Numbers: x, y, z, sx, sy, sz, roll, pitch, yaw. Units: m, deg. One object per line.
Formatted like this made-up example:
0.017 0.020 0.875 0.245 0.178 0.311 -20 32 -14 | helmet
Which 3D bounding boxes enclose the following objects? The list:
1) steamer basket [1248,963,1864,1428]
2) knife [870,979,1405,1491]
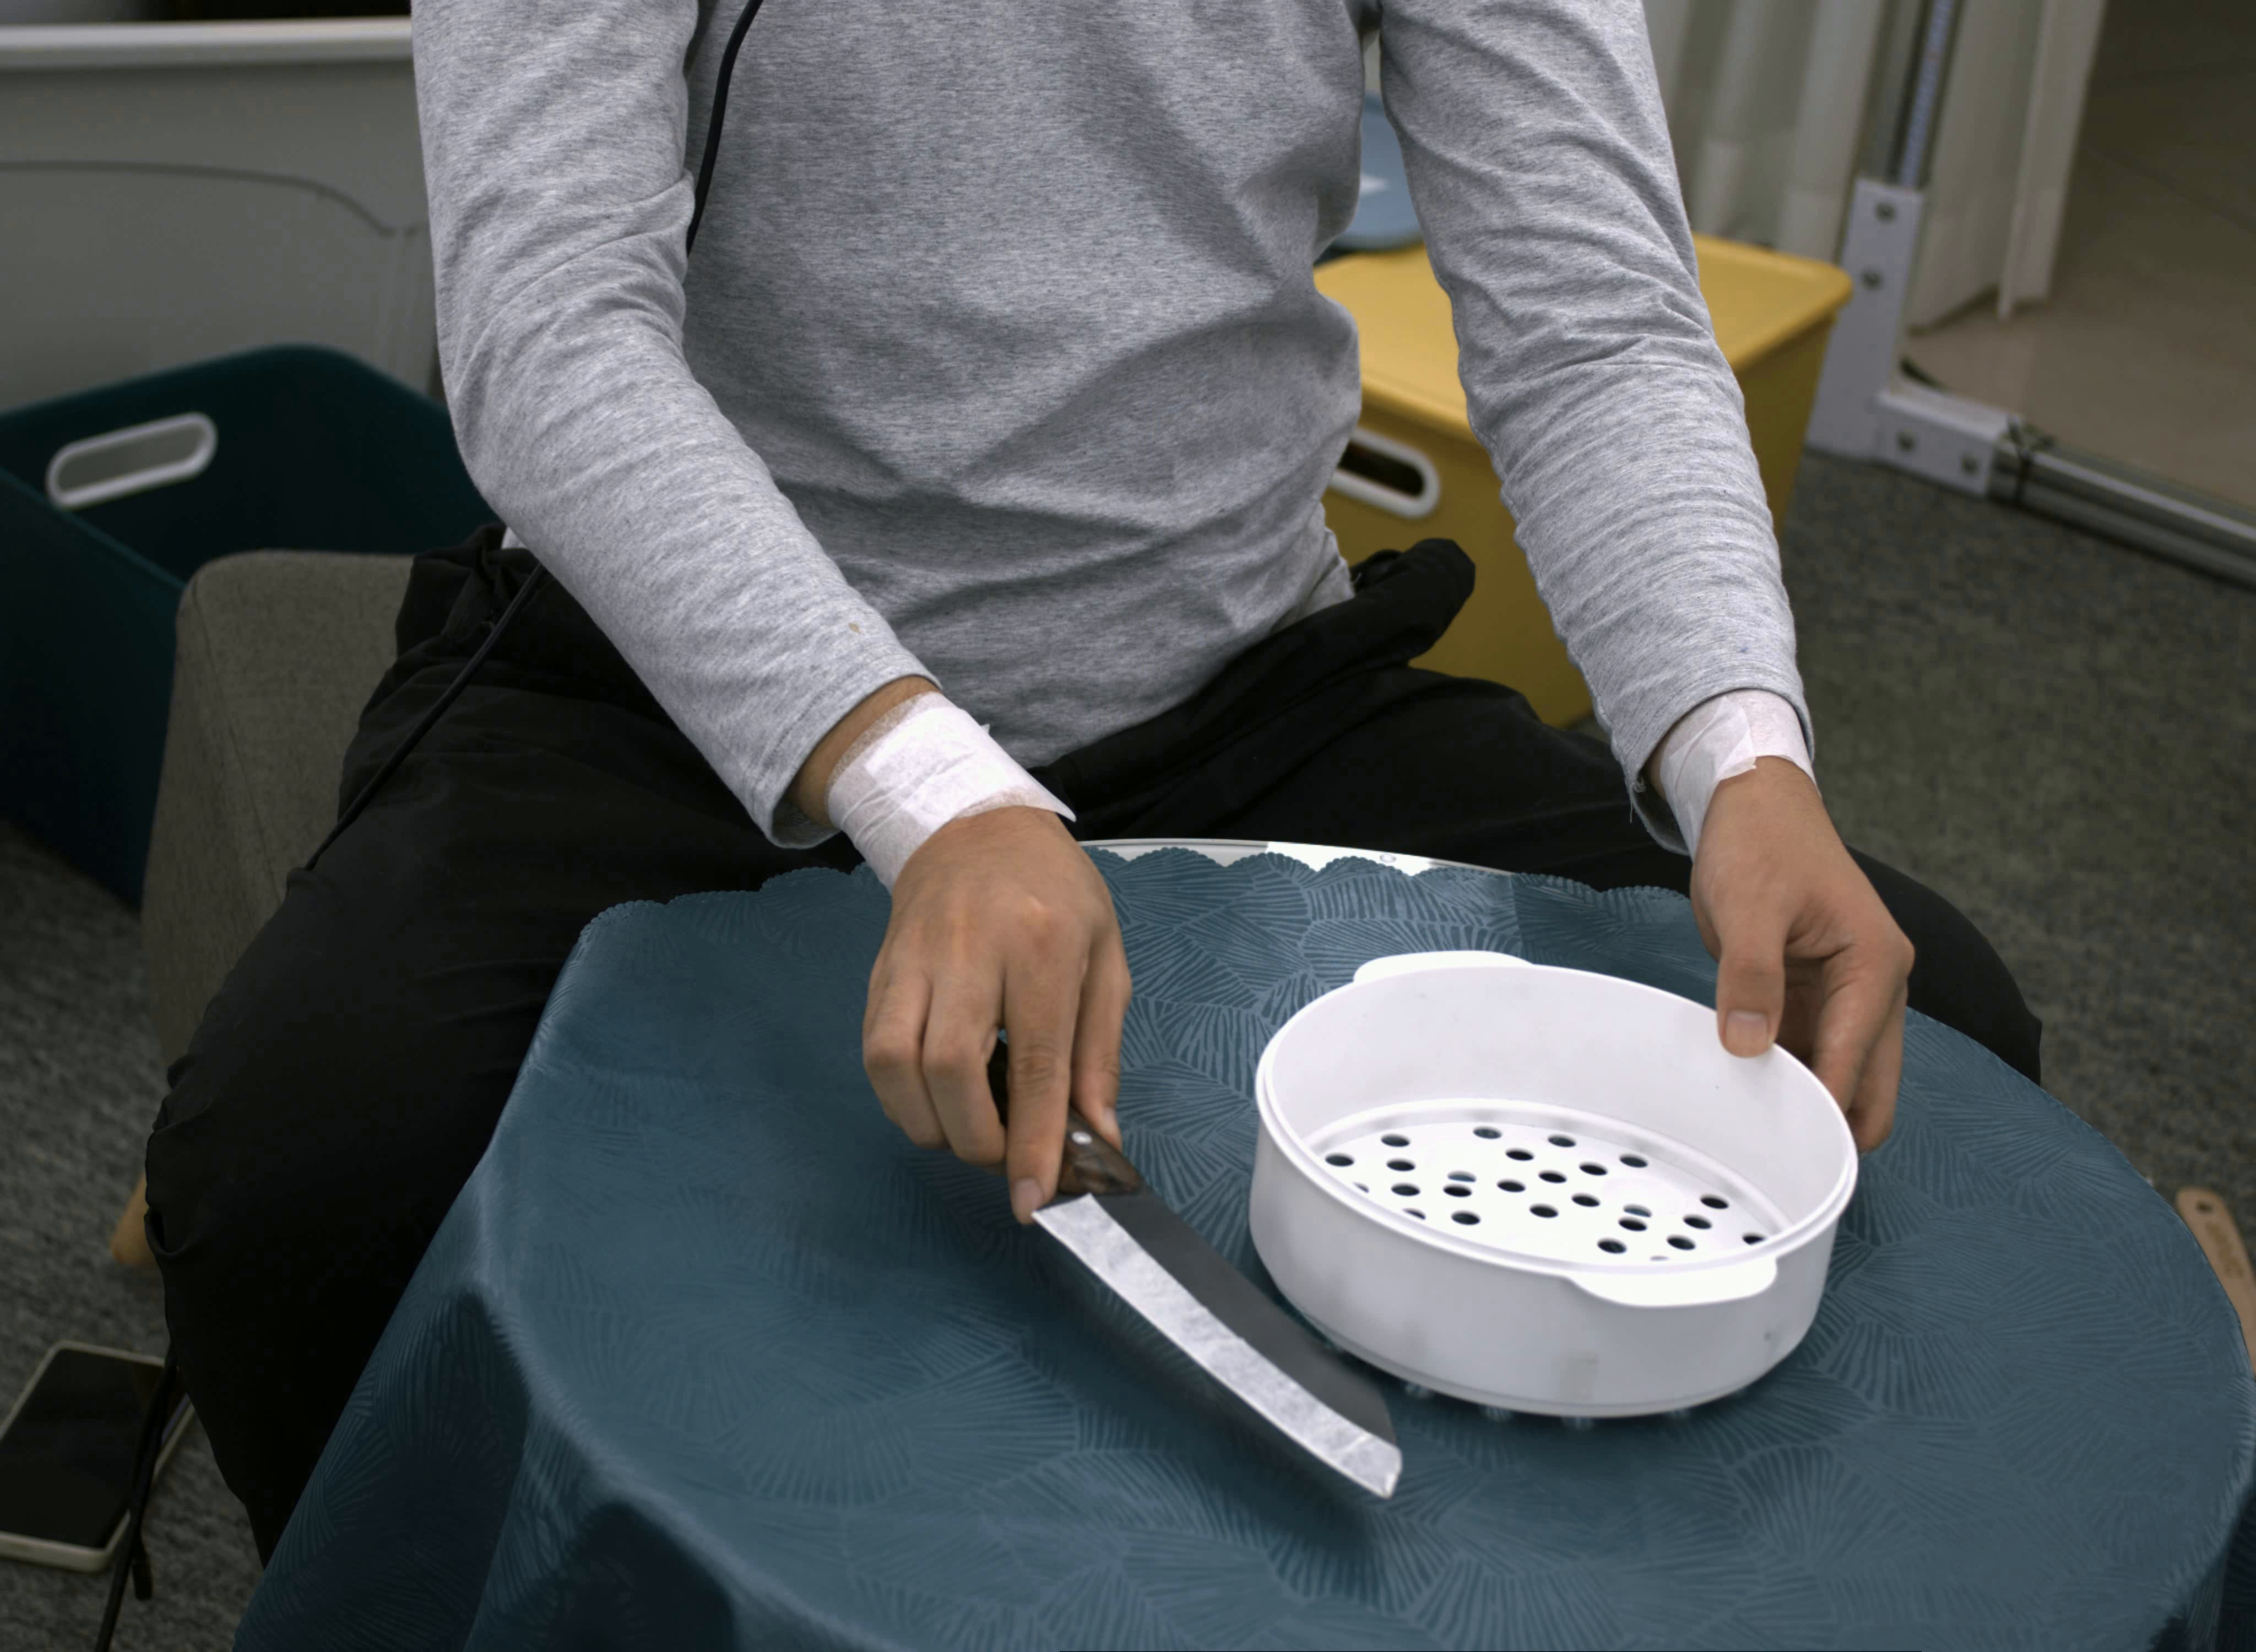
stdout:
0.139 0.124 1.763 0.200 0.069 0.232 -3 27 -19 | steamer basket
0.000 0.130 1.710 0.050 0.020 0.292 -14 38 -33 | knife
